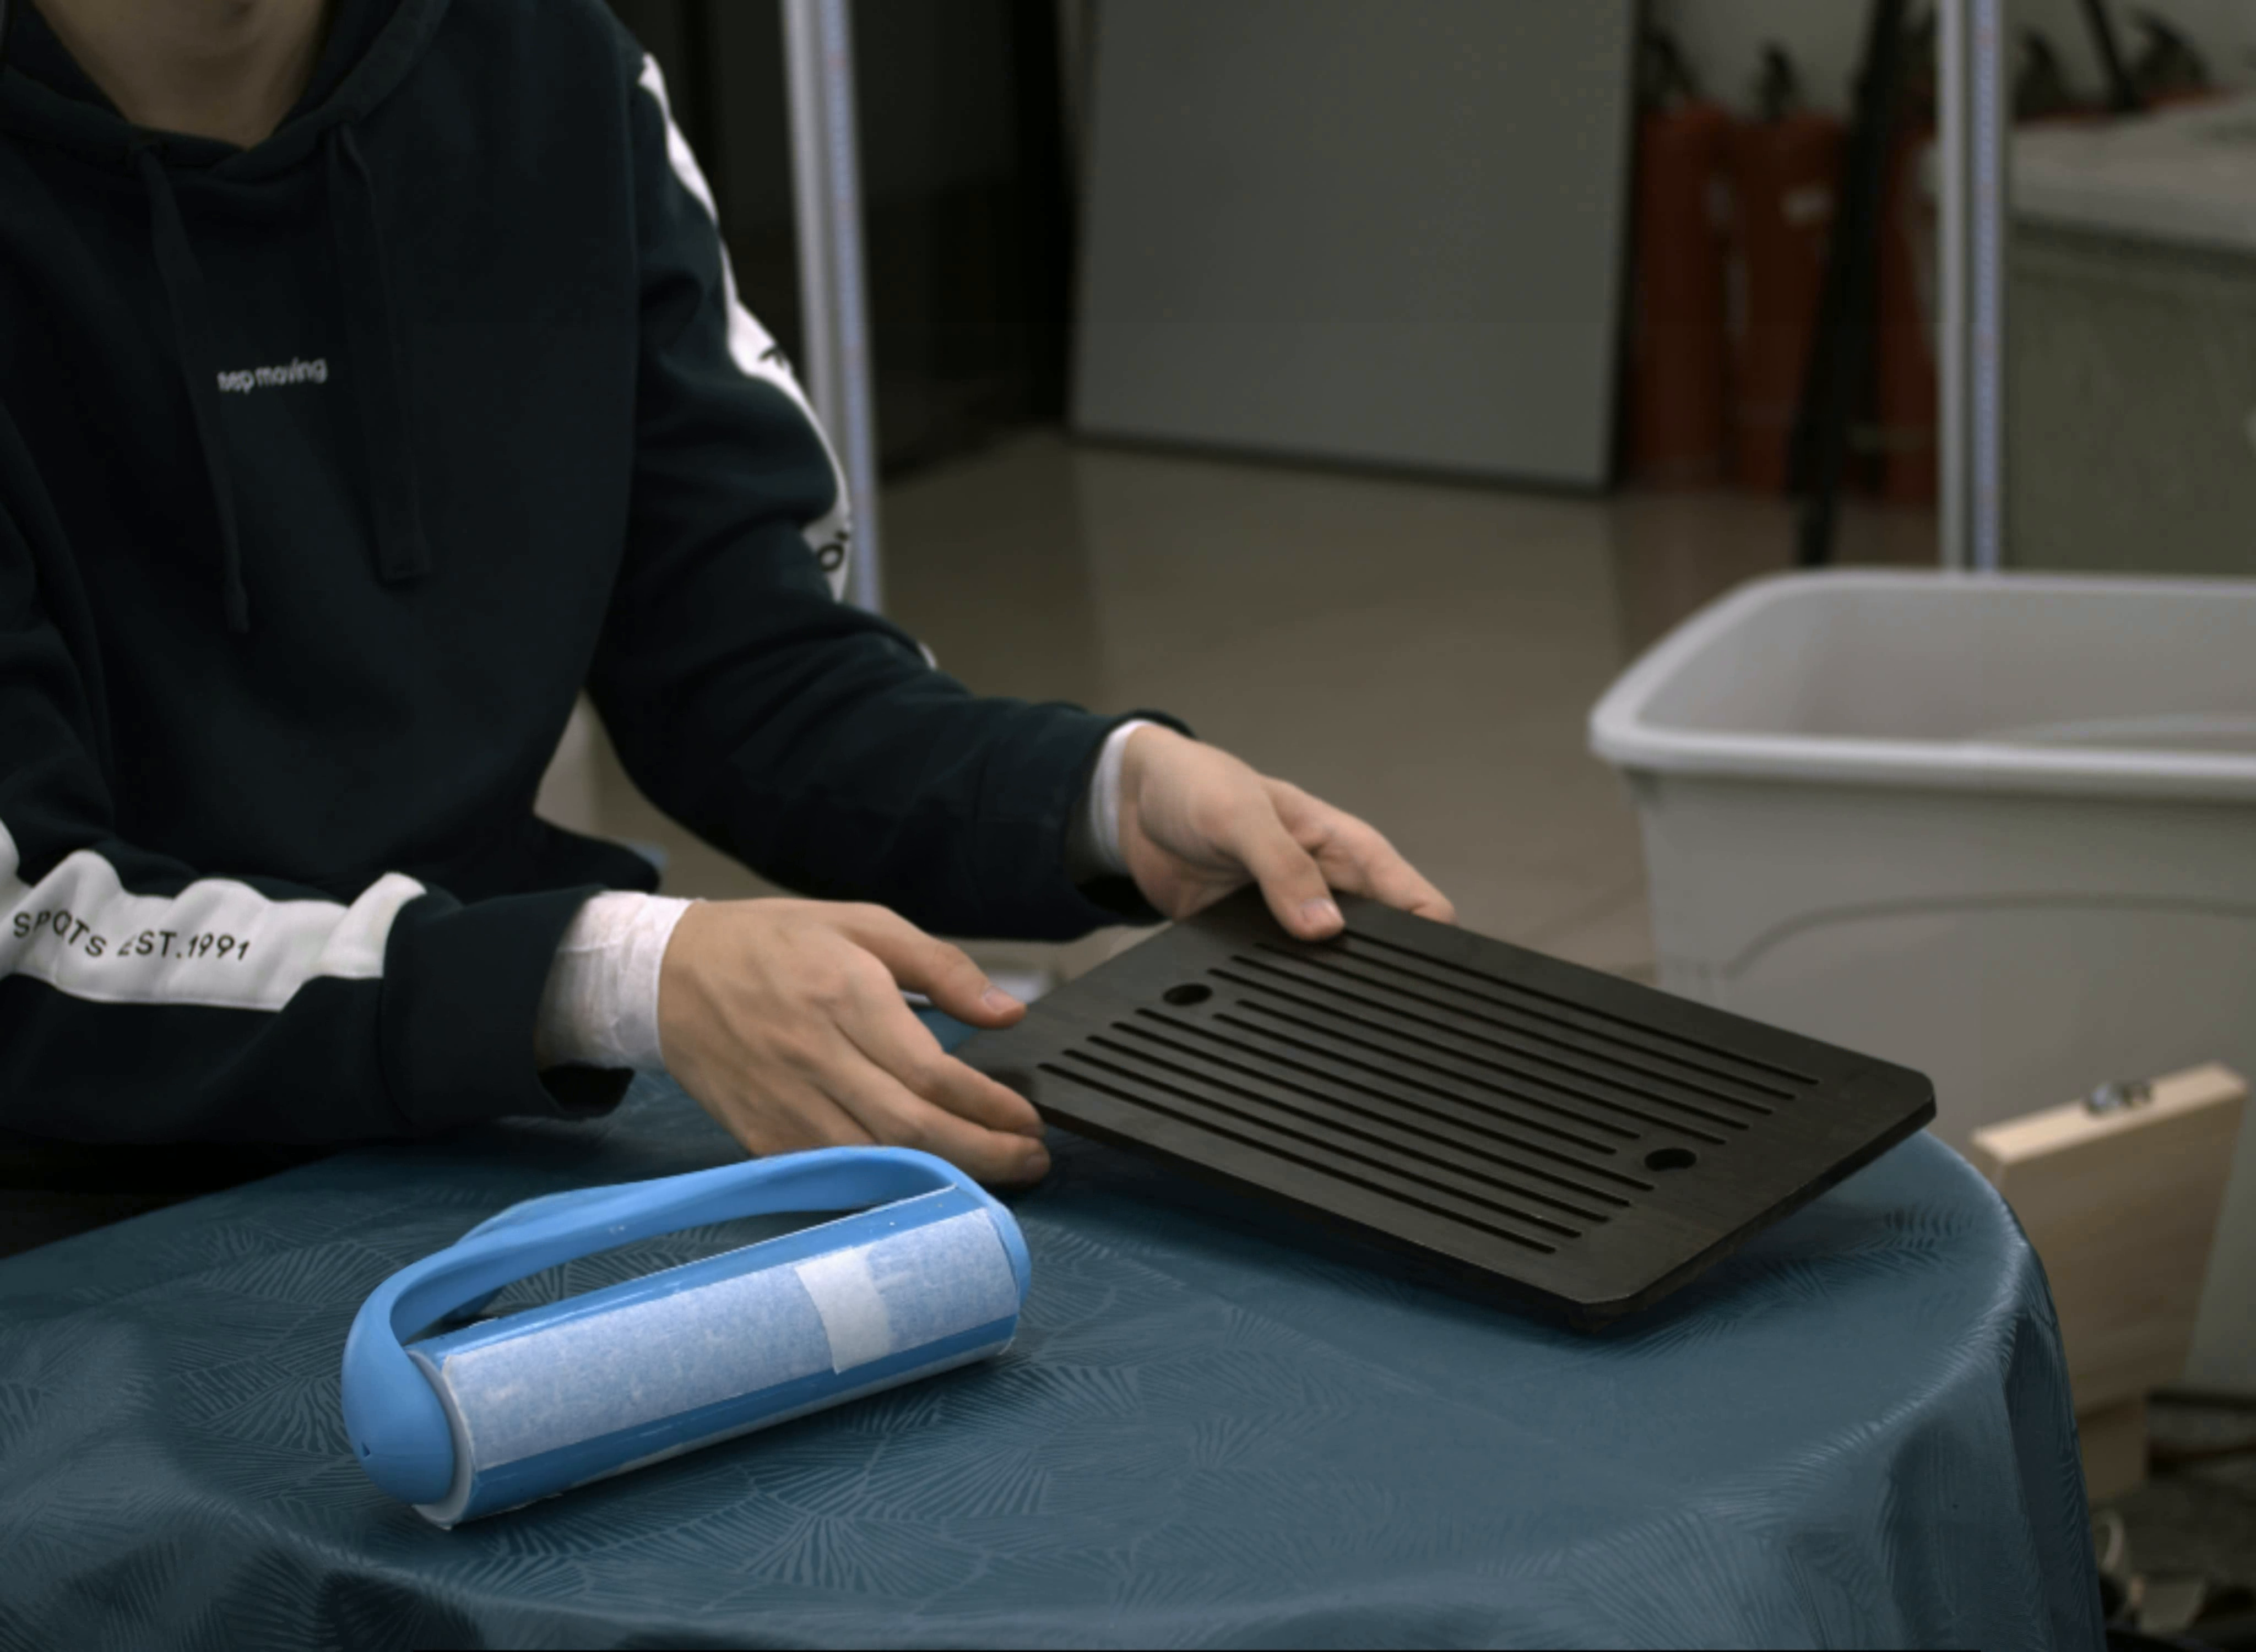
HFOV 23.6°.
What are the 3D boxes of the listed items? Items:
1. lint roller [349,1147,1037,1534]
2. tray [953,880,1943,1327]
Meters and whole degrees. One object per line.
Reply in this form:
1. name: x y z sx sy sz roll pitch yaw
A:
1. lint roller: -0.158 0.142 1.612 0.224 0.068 0.182 -17 20 -36
2. tray: 0.099 0.086 1.748 0.167 0.019 0.309 -28 30 -36
